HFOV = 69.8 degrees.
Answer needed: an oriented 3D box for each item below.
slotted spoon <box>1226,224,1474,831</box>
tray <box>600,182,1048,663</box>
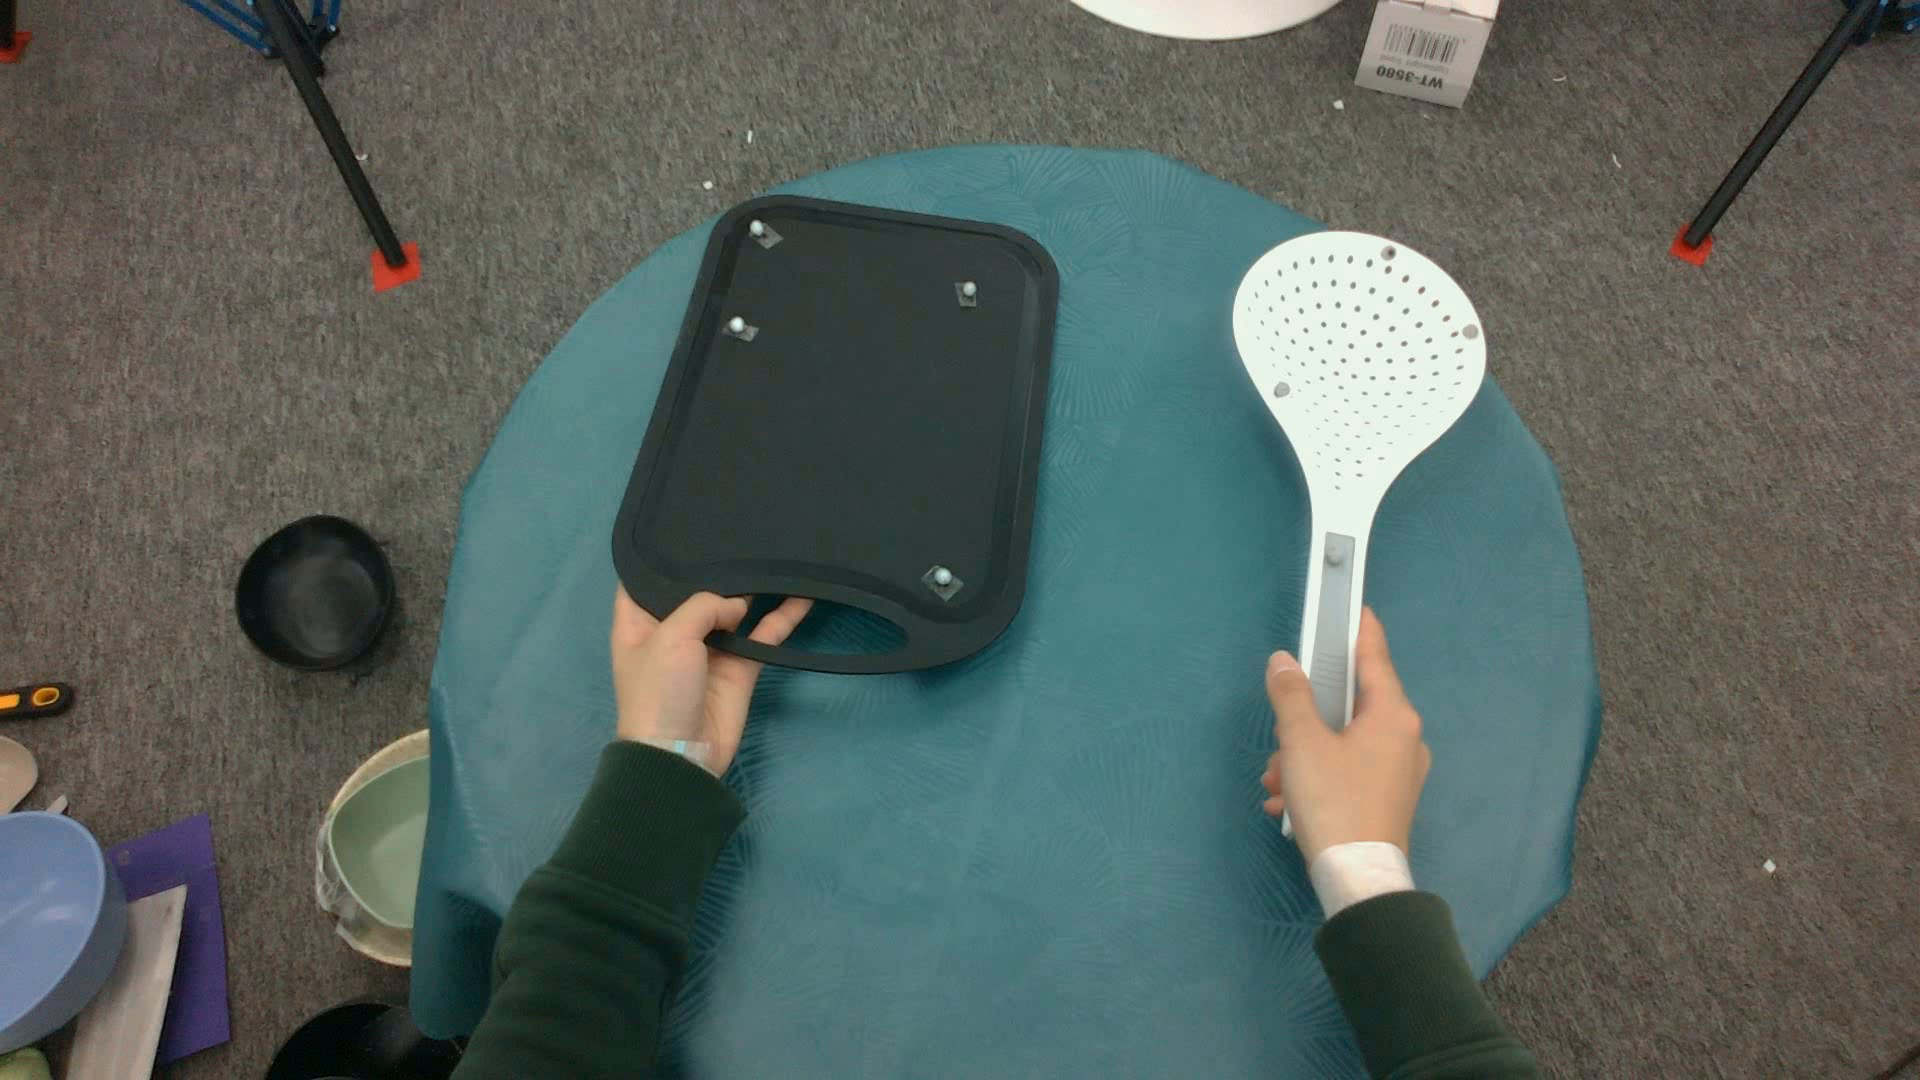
[{"bbox_3d":[0.189,-0.021,0.702,0.136,0.045,0.351,12,57,2],"label":"slotted spoon"},{"bbox_3d":[-0.064,-0.077,0.748,0.211,0.010,0.327,8,55,0],"label":"tray"}]
